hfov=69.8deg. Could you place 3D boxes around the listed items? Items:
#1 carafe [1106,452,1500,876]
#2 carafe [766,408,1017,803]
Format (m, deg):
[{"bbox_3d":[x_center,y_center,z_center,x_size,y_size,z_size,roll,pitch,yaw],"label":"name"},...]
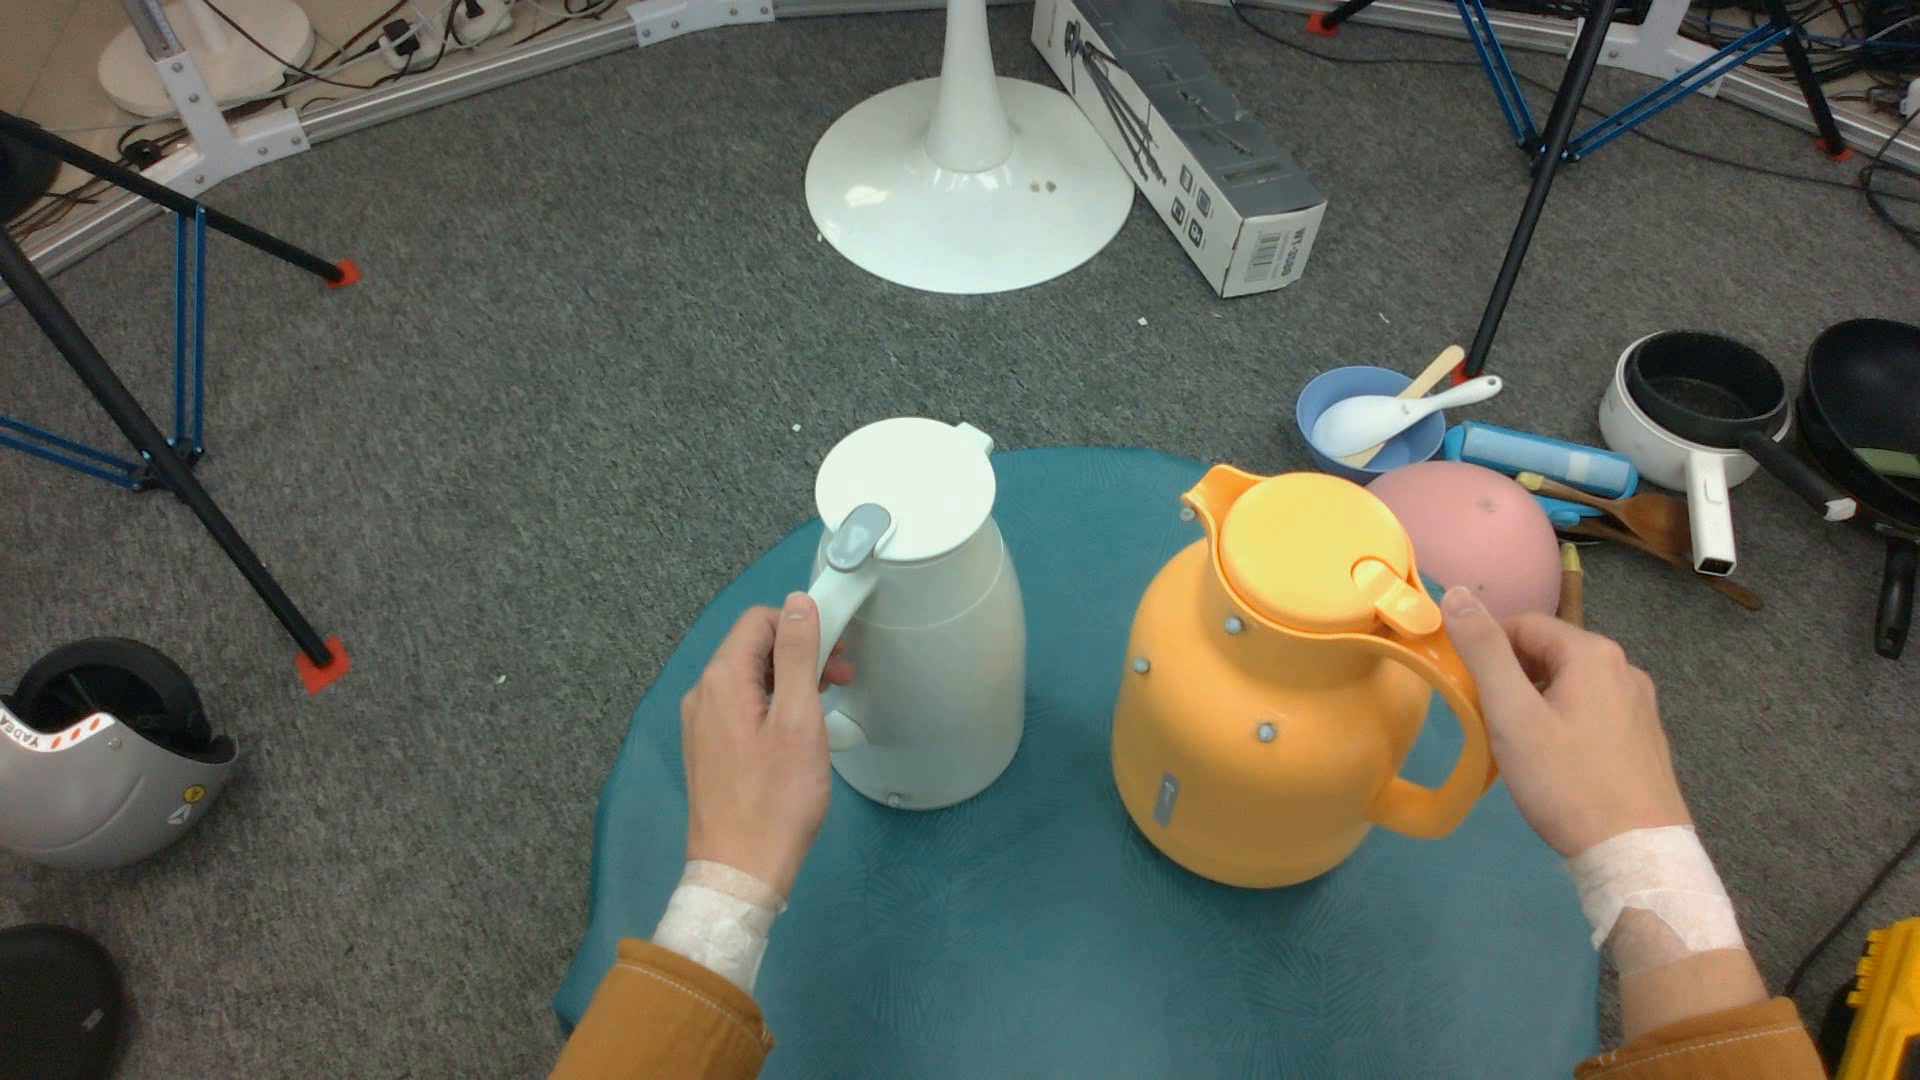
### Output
[{"bbox_3d":[0.178,0.079,0.747,0.164,0.259,0.202,-39,61,-22],"label":"carafe"},{"bbox_3d":[-0.042,0.050,0.776,0.132,0.247,0.168,29,60,20],"label":"carafe"}]
